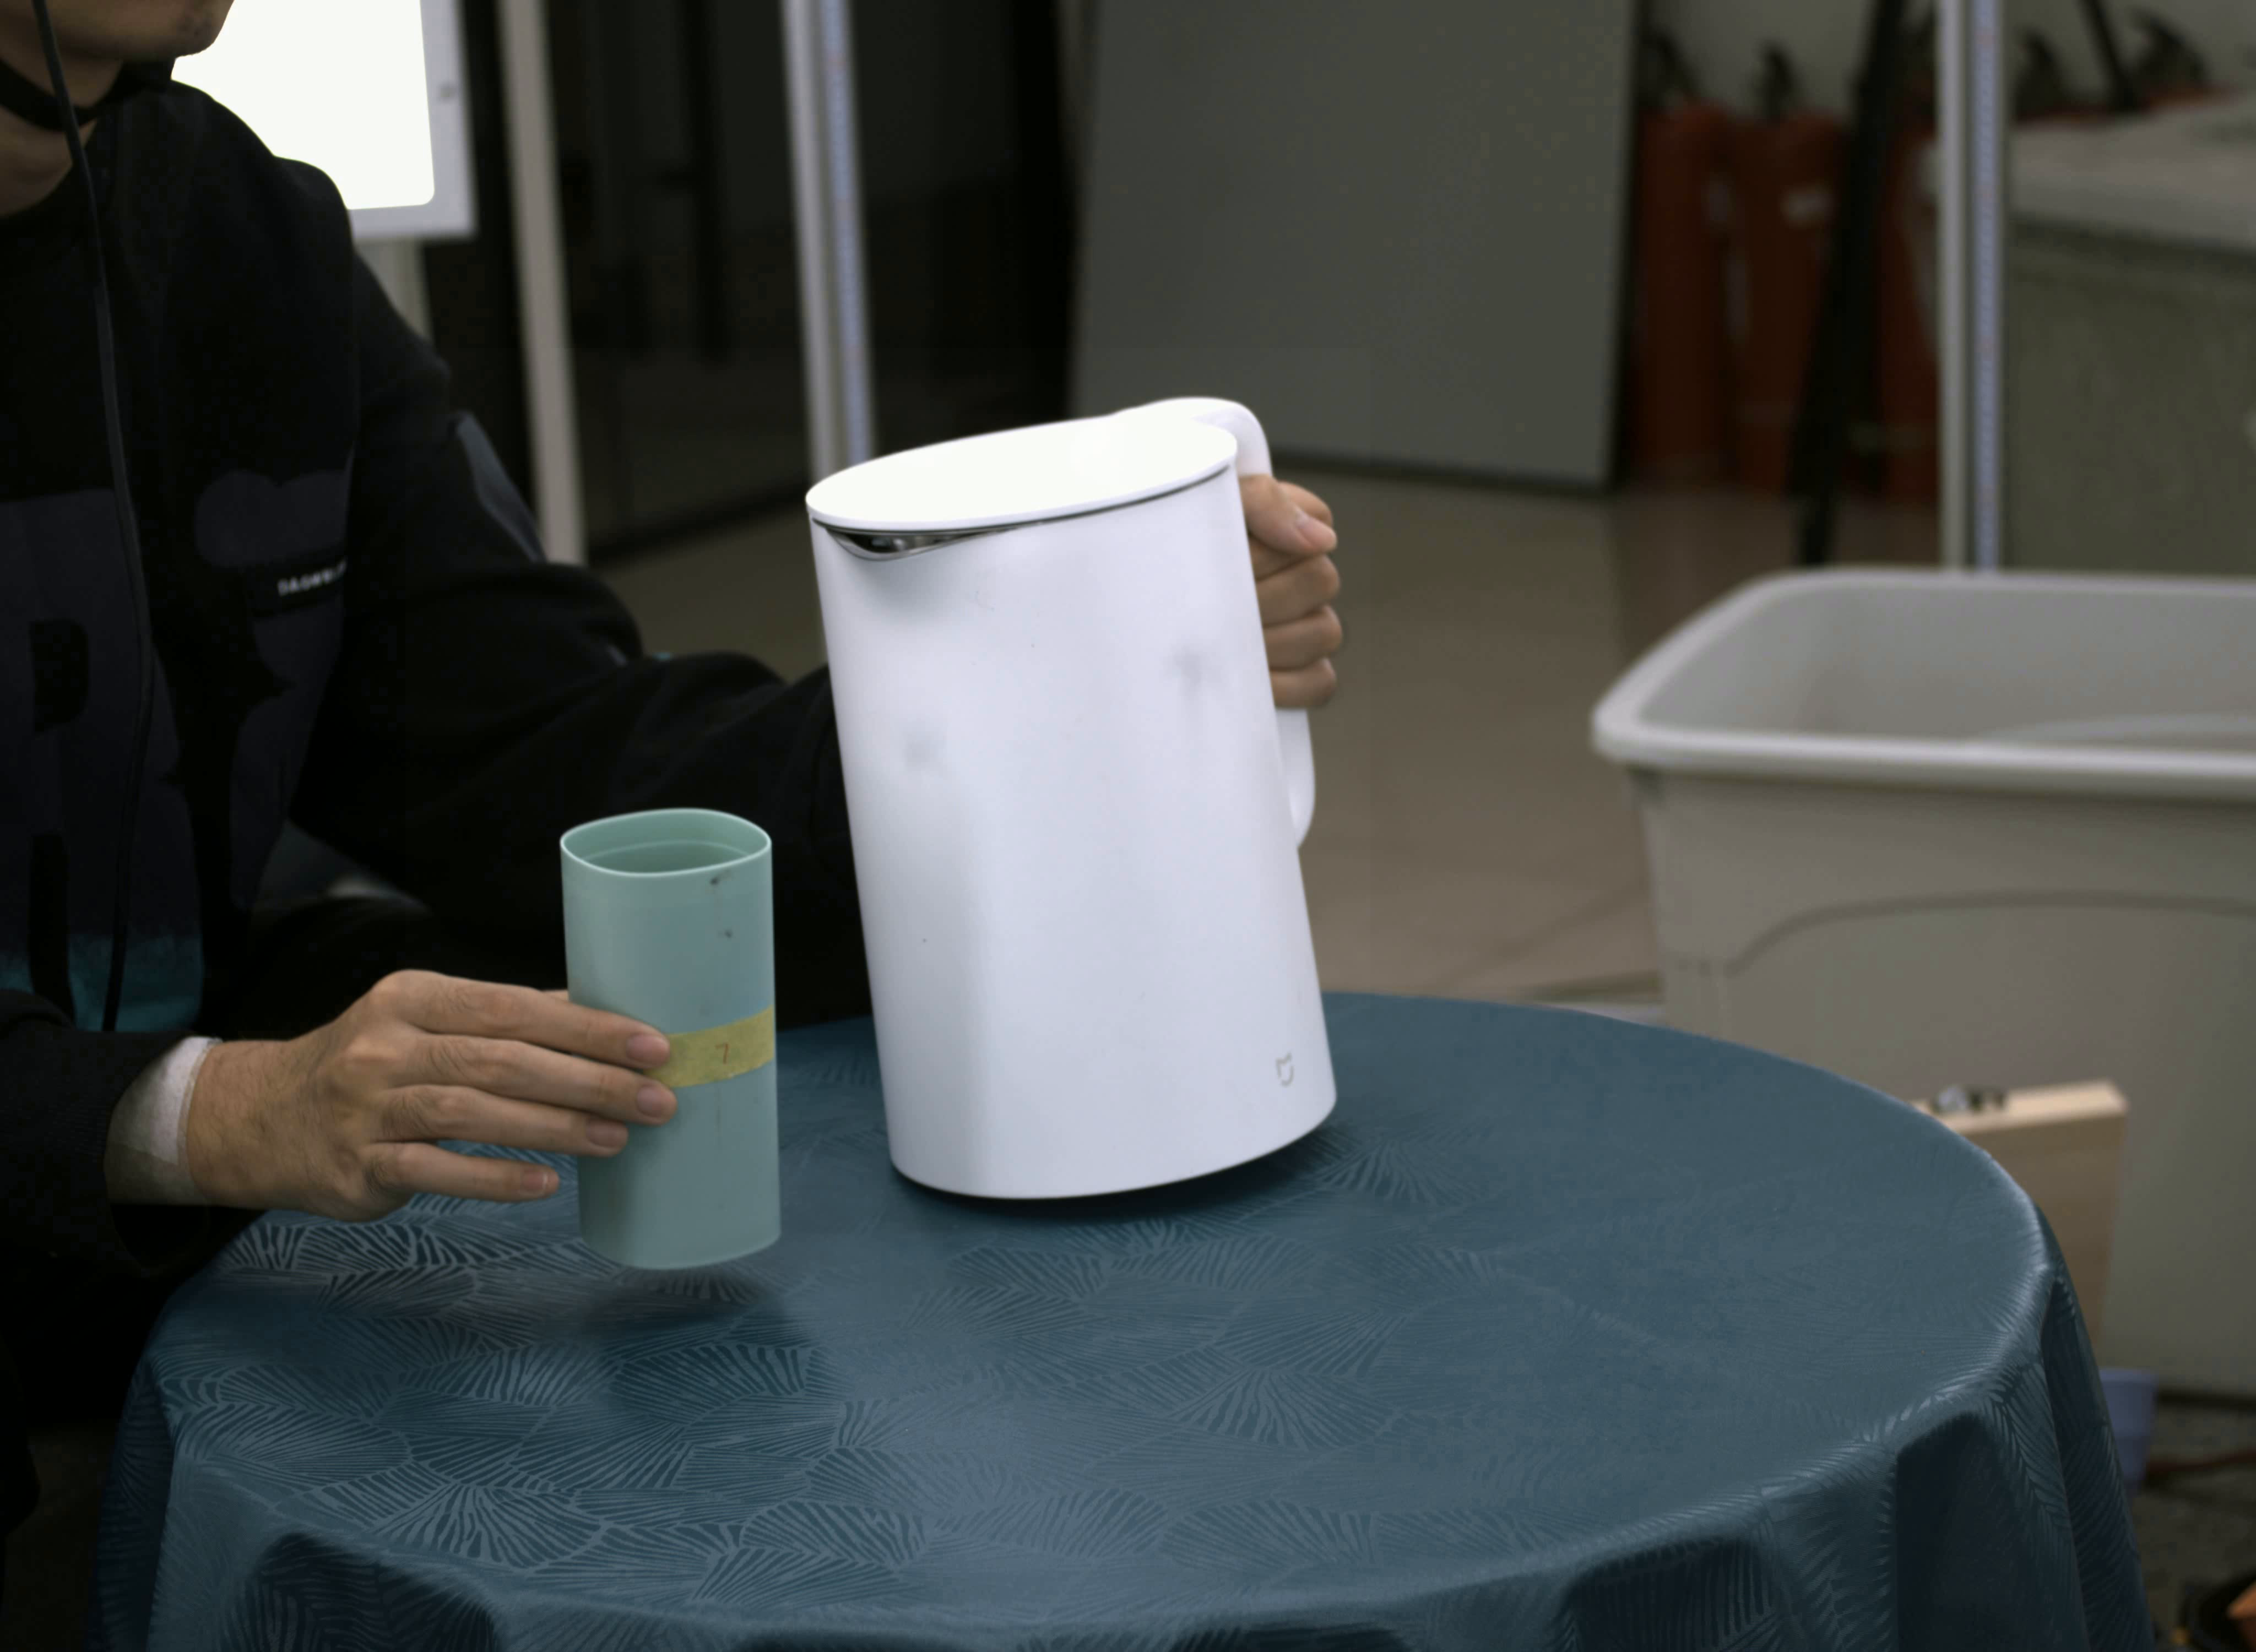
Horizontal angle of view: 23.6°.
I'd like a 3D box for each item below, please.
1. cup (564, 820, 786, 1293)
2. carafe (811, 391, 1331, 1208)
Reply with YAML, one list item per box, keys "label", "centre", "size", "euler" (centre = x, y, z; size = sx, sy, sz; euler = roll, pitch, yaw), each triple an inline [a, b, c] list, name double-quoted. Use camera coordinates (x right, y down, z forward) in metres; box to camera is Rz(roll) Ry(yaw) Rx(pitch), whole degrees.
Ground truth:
- label: "cup"
  centre: [-0.140, 0.070, 1.676]
  size: [0.066, 0.134, 0.067]
  euler: [-2, 18, 0]
- label: "carafe"
  centre: [-0.004, -0.015, 1.803]
  size: [0.153, 0.242, 0.209]
  euler: [3, 17, 35]
